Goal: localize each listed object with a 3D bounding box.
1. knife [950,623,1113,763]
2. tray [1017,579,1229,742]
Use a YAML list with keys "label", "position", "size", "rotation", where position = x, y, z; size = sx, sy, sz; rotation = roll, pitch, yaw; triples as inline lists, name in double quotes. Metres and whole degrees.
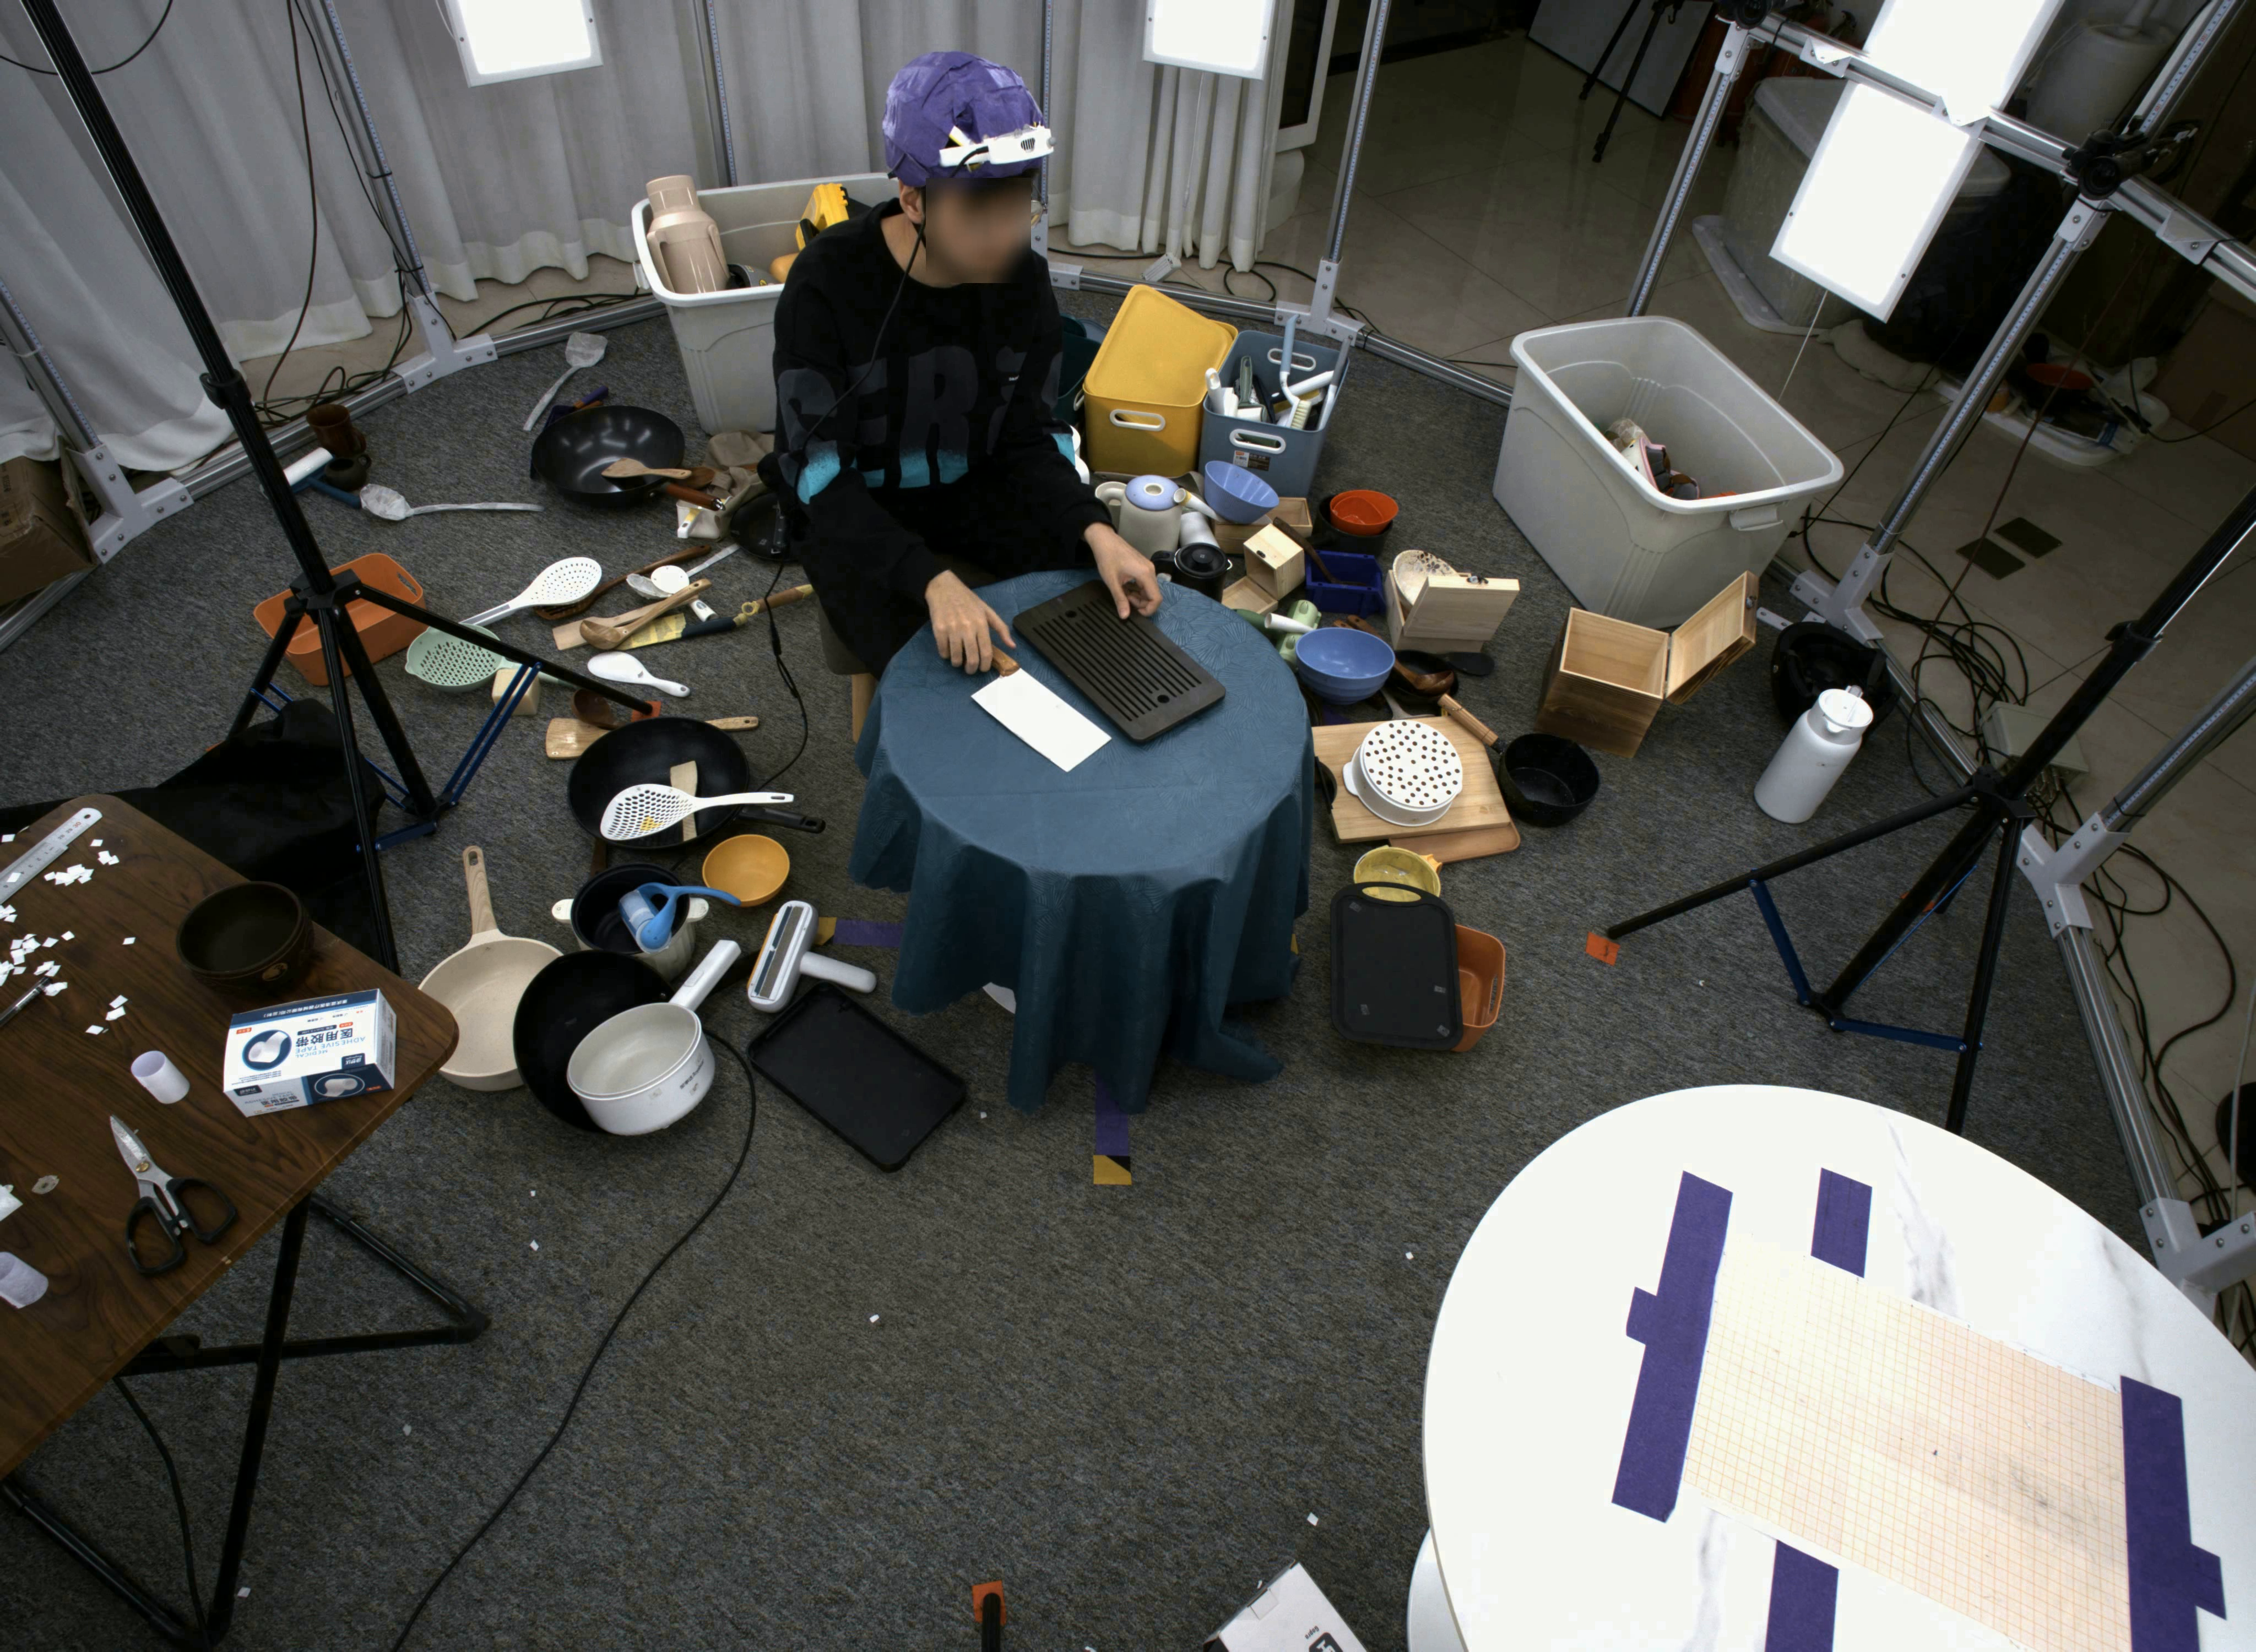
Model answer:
- label: "knife"
  position: [-0.157, -0.185, 1.809]
  size: [0.310, 0.020, 0.094]
  rotation: [39, 58, 23]
- label: "tray"
  position: [-0.010, -0.245, 1.869]
  size: [0.171, 0.018, 0.311]
  rotation: [-29, 57, -25]
